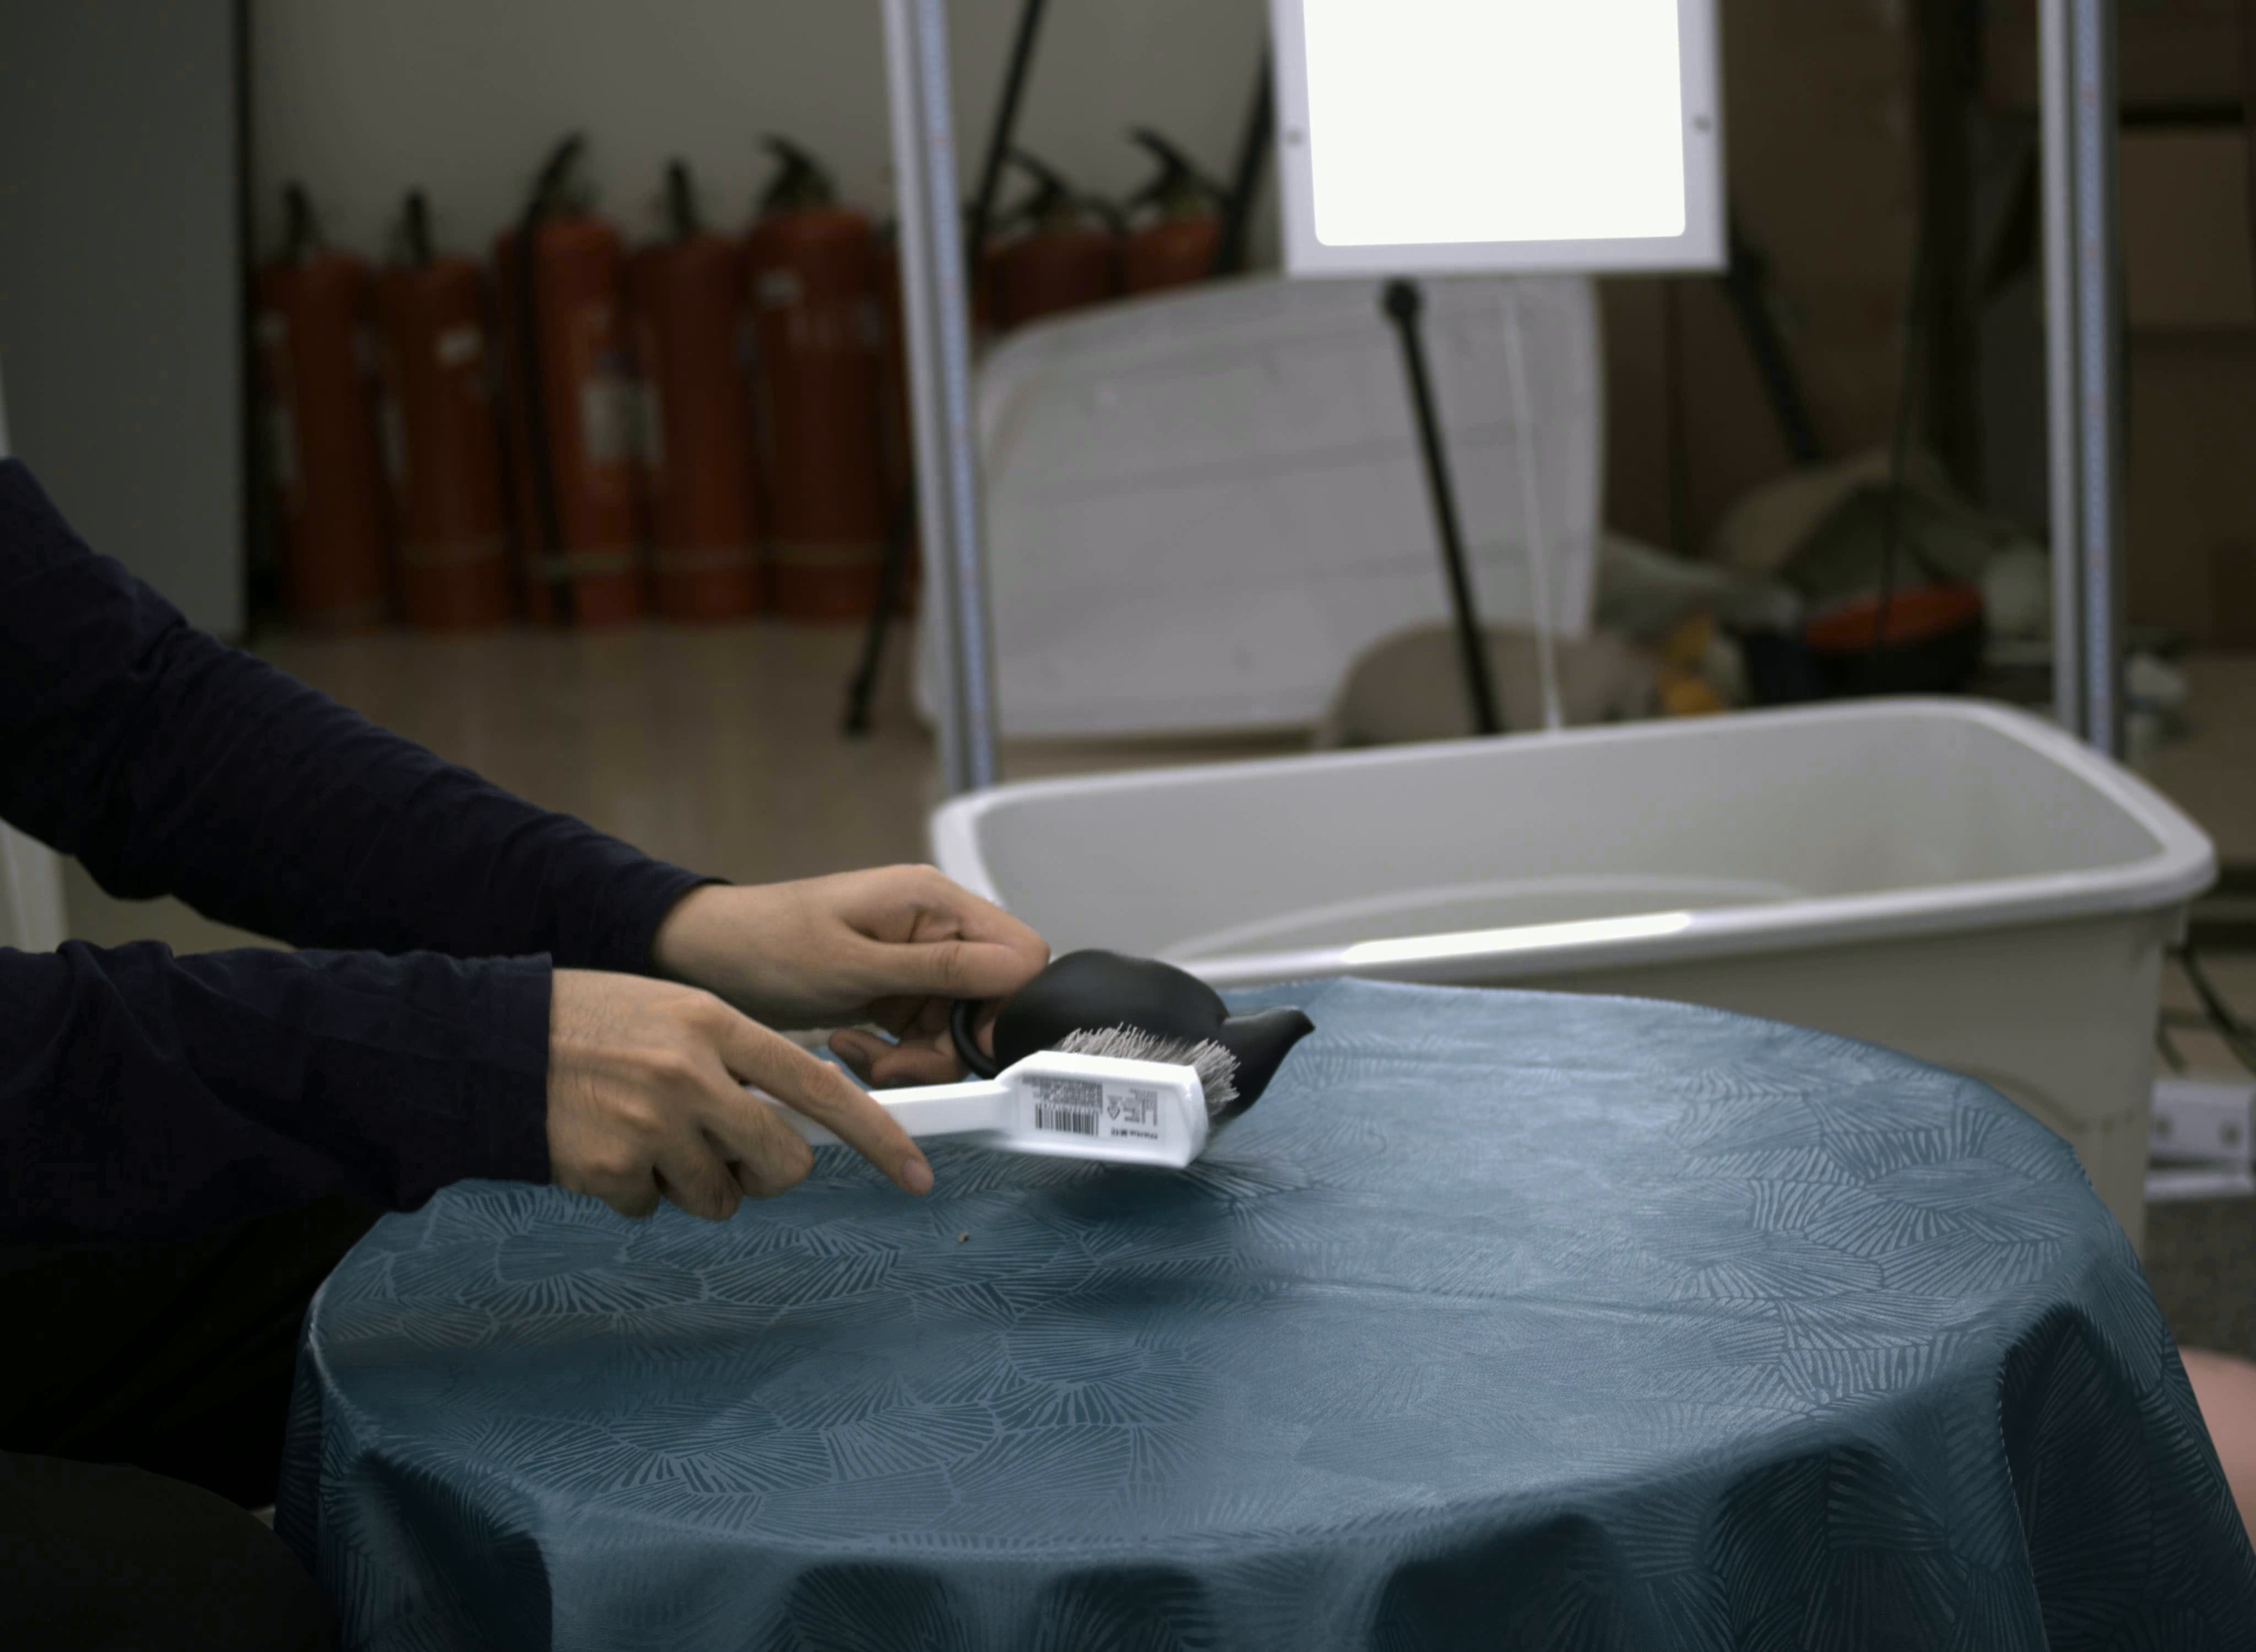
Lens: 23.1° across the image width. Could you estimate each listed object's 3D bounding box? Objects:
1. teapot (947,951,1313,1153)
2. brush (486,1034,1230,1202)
[{"bbox_3d":[-0.003,0.079,1.909,0.135,0.053,0.090,10,-24,24],"label":"teapot"},{"bbox_3d":[-0.088,0.097,1.805,0.244,0.034,0.050,-4,19,7],"label":"brush"}]
